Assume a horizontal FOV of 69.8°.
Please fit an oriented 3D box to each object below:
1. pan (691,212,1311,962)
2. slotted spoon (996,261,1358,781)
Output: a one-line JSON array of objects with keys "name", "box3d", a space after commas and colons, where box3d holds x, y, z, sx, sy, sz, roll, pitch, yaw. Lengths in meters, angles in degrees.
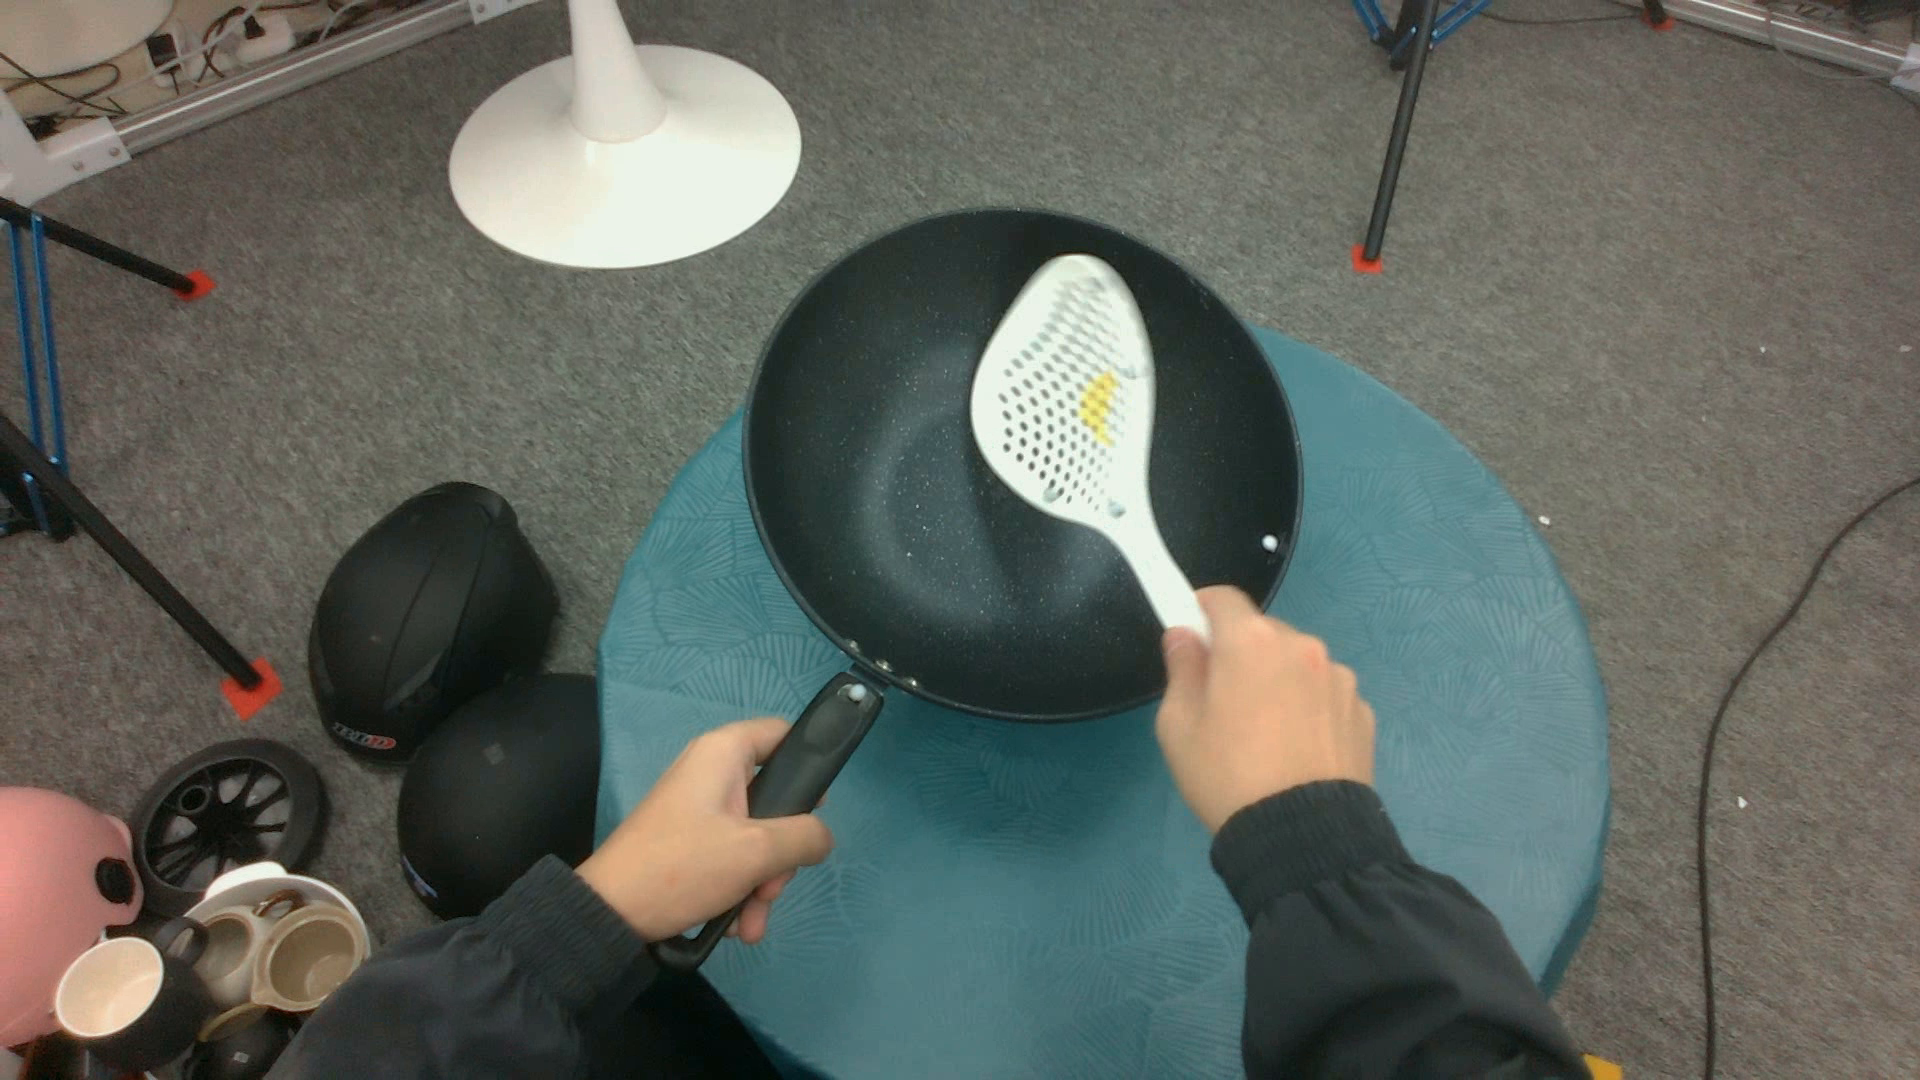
[{"name": "pan", "box3d": [0.000, 0.021, 0.759, 0.310, 0.111, 0.479, 28, 67, 8]}, {"name": "slotted spoon", "box3d": [0.115, -0.018, 0.725, 0.136, 0.050, 0.349, -34, 43, 15]}]
